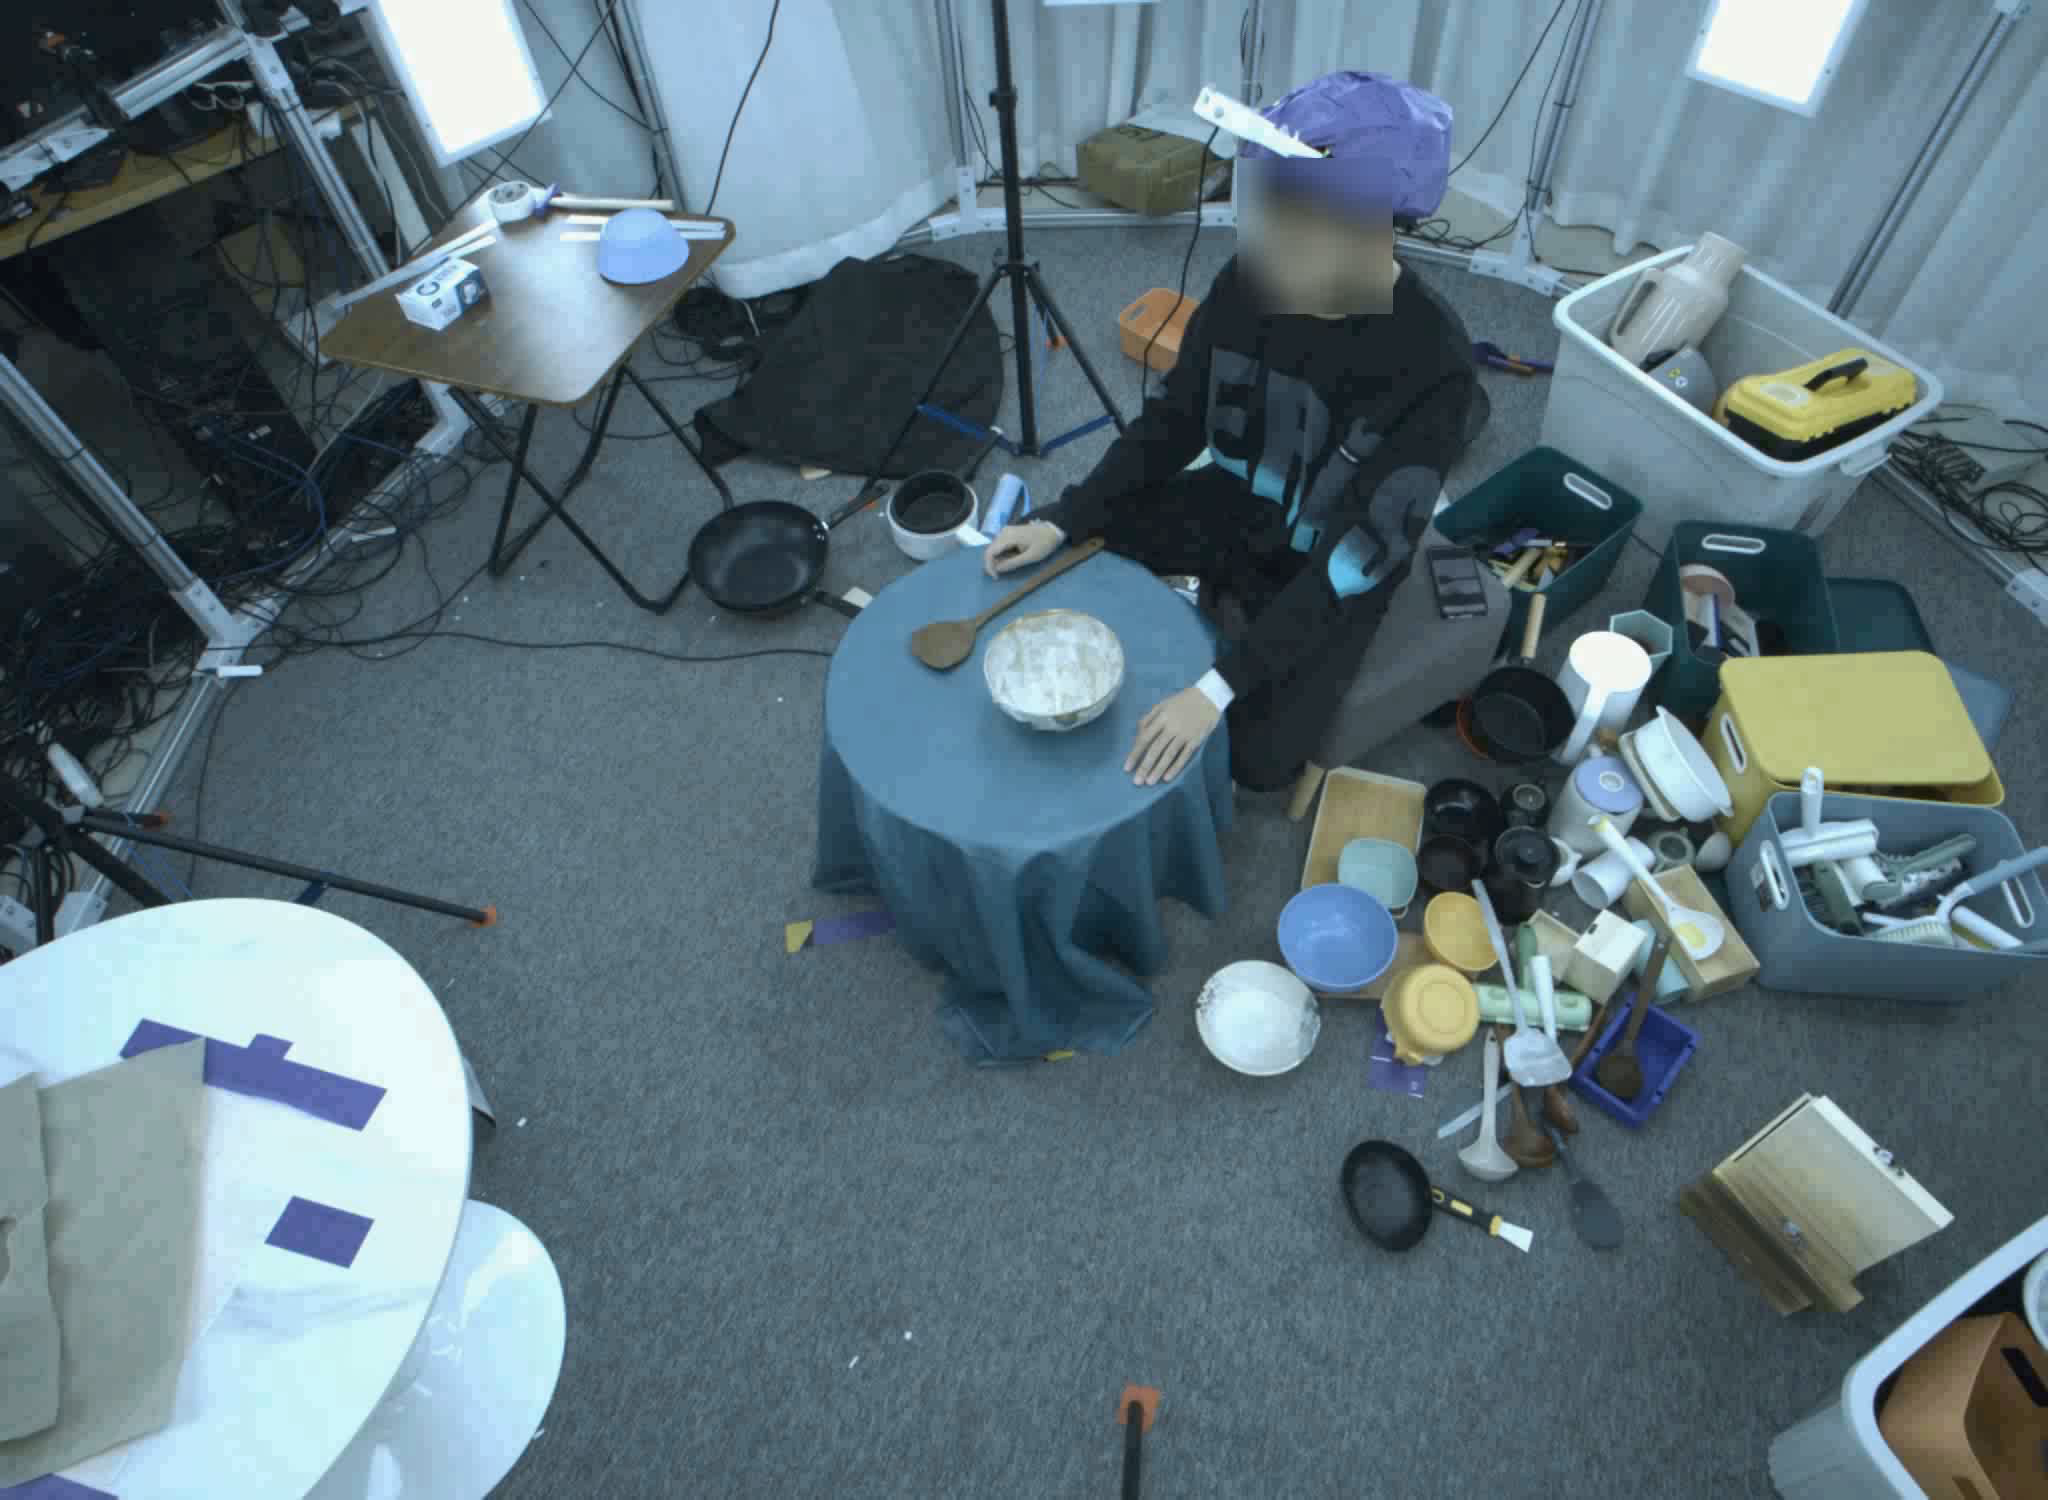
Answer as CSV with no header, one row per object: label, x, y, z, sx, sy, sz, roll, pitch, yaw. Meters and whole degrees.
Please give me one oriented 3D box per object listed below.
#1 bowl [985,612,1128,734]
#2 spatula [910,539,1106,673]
bowl,0.051,-0.097,1.807,0.214,0.095,0.212,0,53,2
spatula,-0.014,-0.242,1.961,0.389,0.016,0.094,-36,62,-22
